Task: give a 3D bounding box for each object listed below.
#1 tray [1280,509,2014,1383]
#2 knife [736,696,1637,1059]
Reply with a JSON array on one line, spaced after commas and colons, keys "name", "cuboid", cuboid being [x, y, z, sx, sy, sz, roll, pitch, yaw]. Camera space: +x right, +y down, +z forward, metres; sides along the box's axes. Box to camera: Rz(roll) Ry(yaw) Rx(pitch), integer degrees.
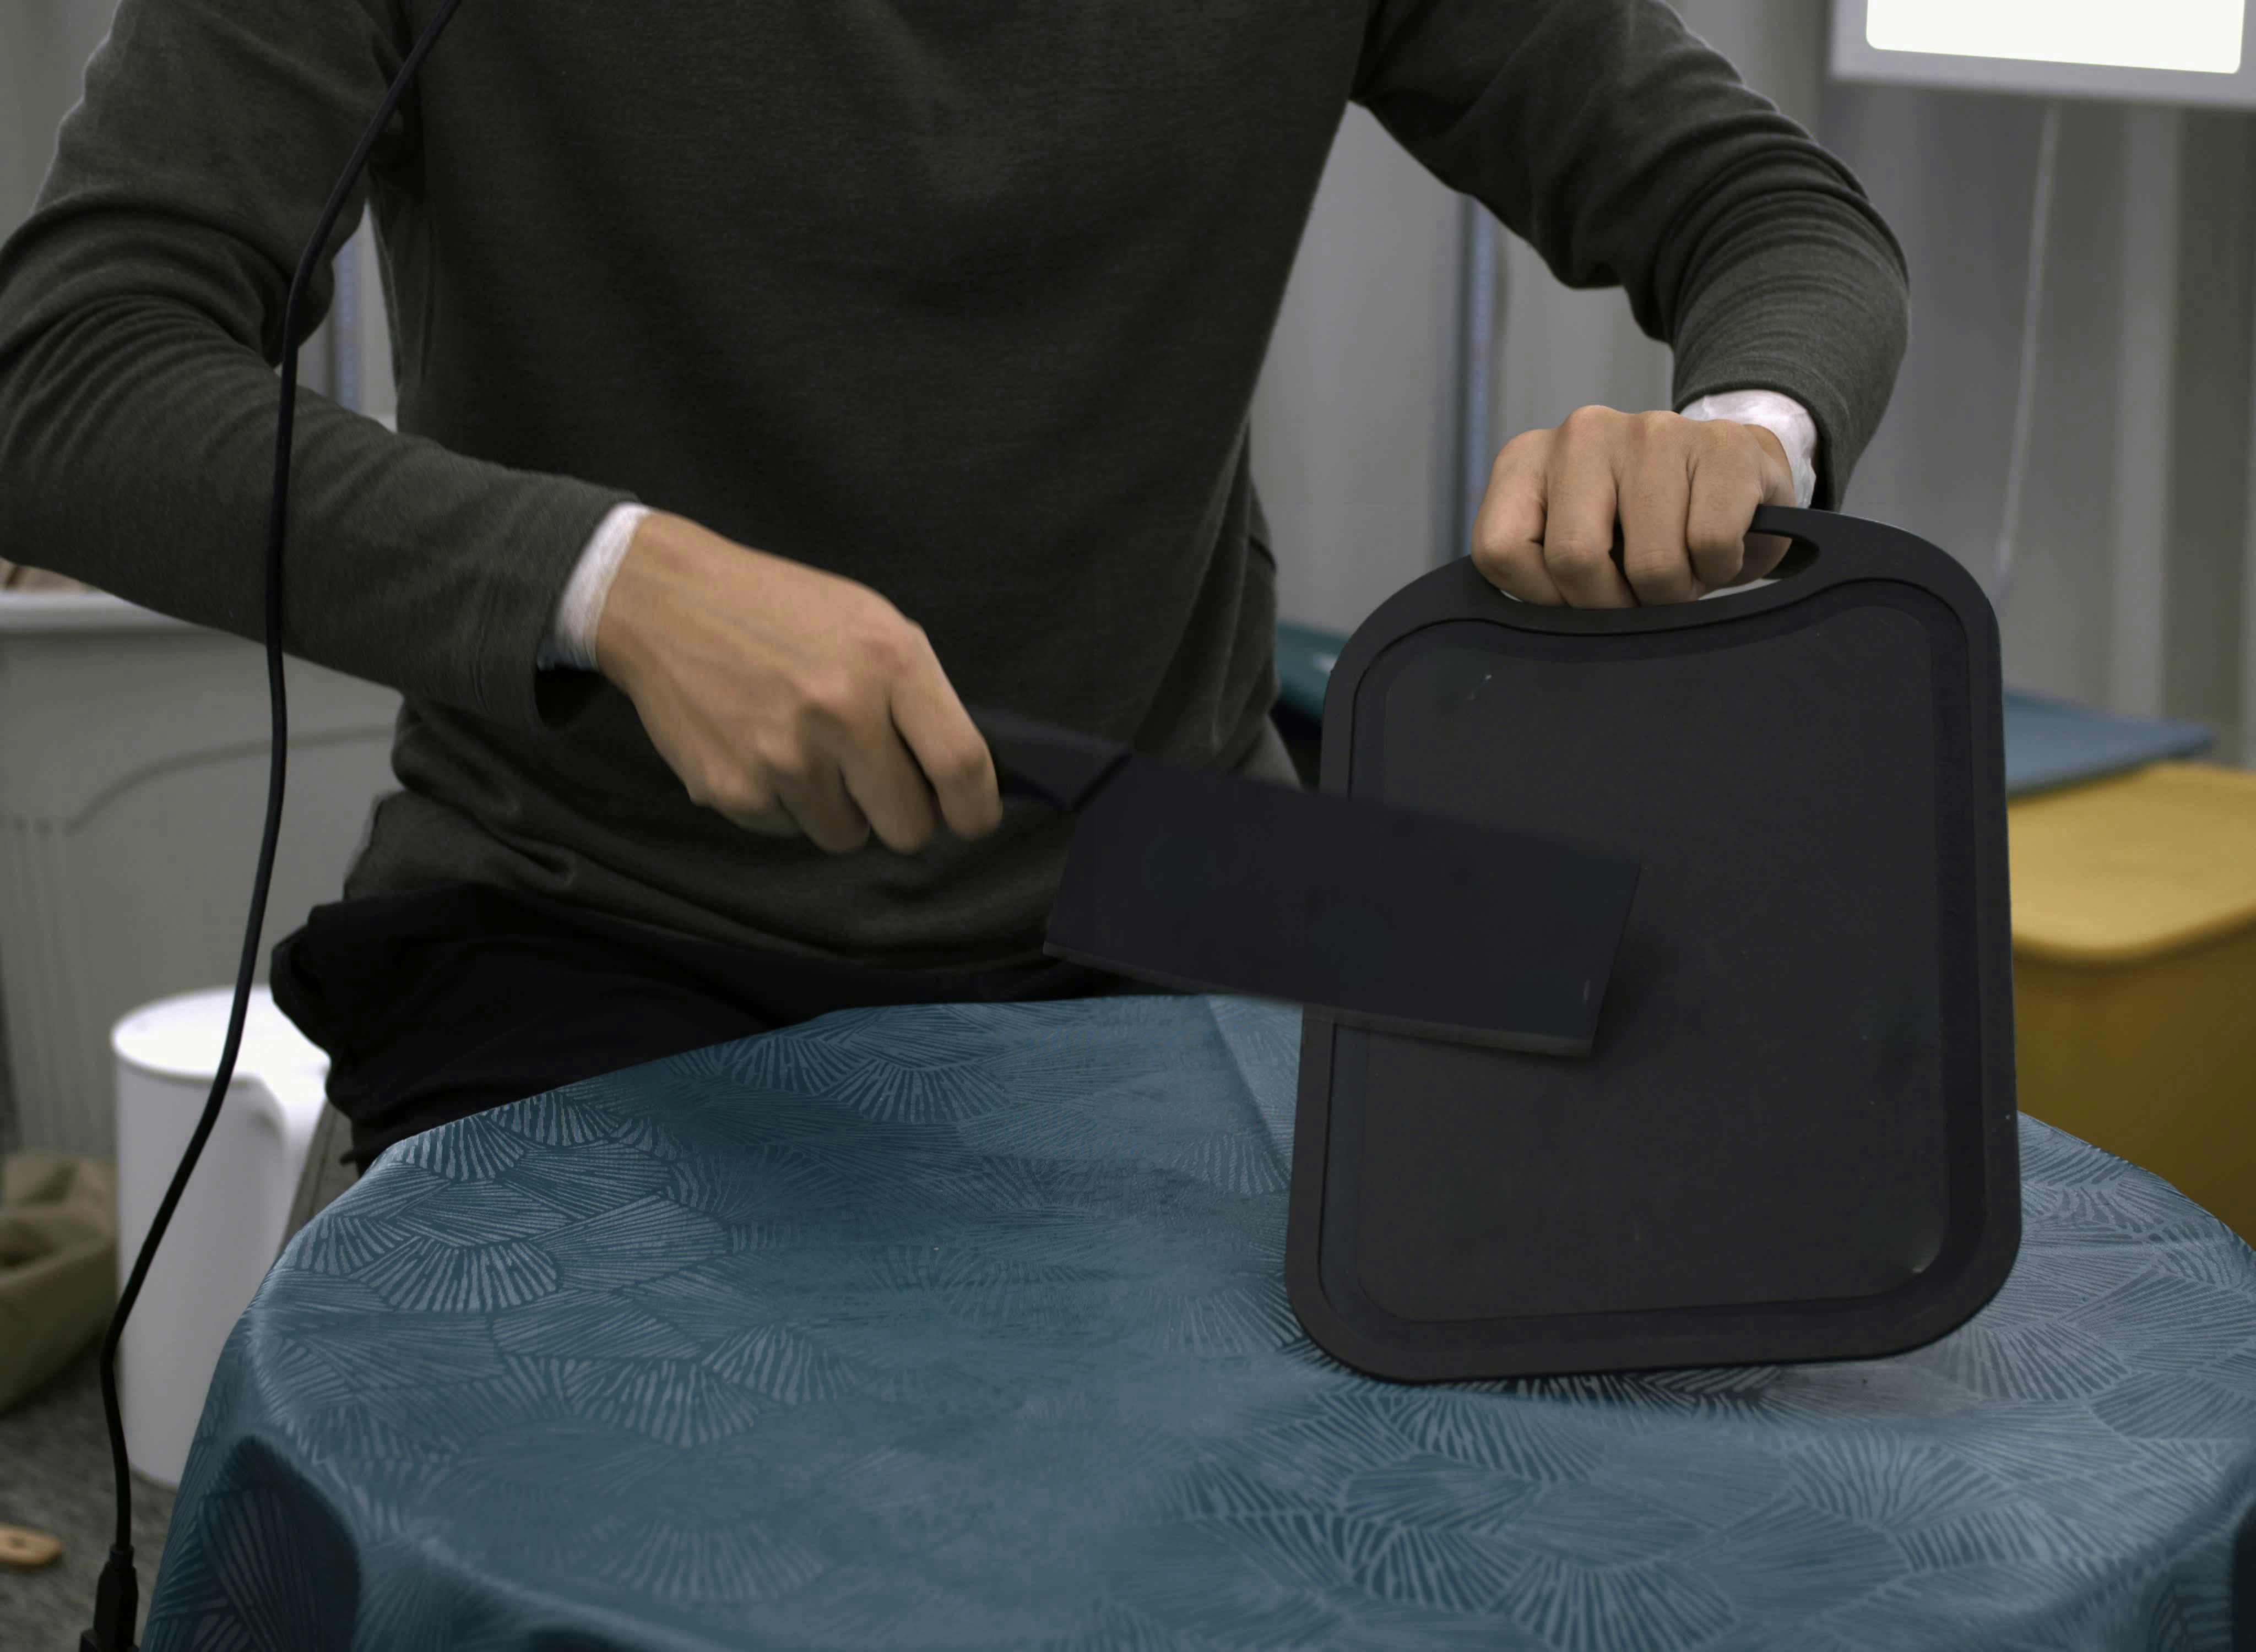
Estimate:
[{"name": "tray", "cuboid": [0.154, 0.026, 1.556, 0.209, 0.010, 0.323, -4, 50, 12]}, {"name": "knife", "cuboid": [0.011, 0.011, 1.588, 0.299, 0.081, 0.021, 17, -9, 26]}]
